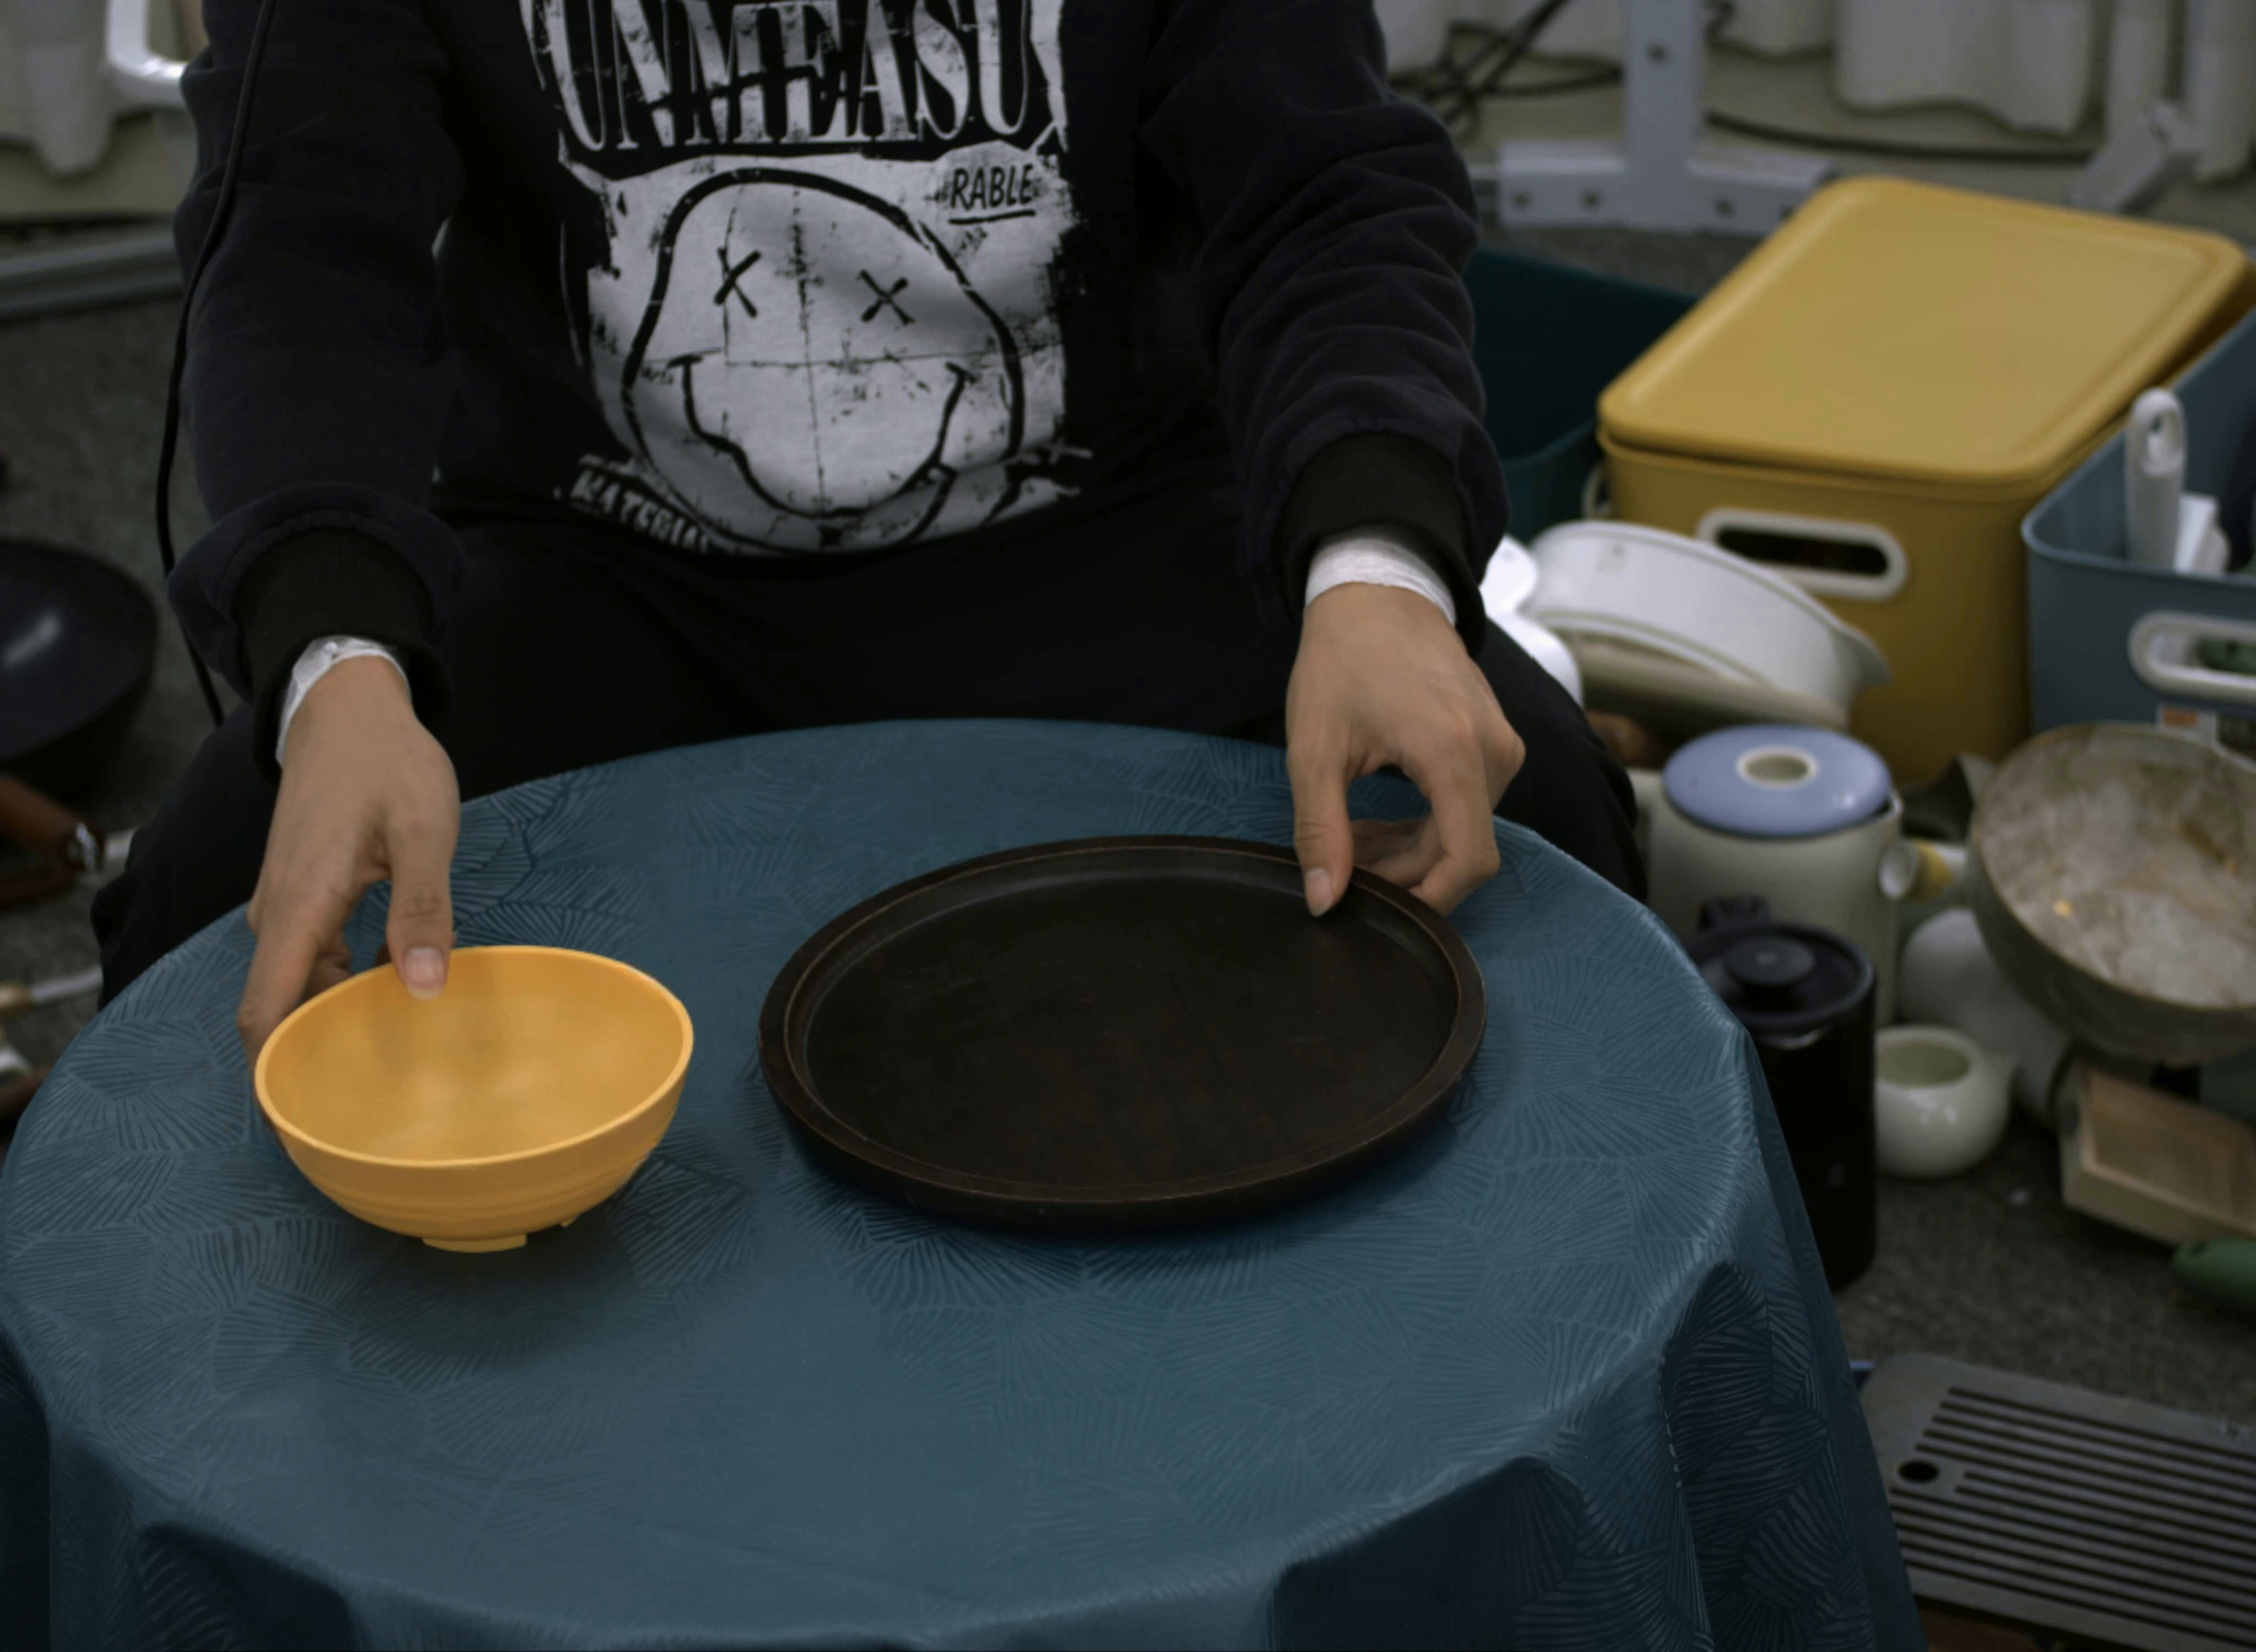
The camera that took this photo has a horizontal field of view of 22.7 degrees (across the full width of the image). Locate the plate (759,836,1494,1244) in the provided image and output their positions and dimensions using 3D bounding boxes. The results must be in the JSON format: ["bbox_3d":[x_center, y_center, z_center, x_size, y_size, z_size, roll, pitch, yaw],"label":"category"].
[{"bbox_3d":[0.000,0.072,1.933,0.253,0.029,0.258,-4,27,2],"label":"plate"}]

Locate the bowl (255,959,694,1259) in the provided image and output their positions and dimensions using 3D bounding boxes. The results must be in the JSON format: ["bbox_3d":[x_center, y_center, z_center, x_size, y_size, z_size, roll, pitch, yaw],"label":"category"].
[{"bbox_3d":[-0.214,0.102,1.860,0.144,0.059,0.147,-1,25,1],"label":"bowl"}]
